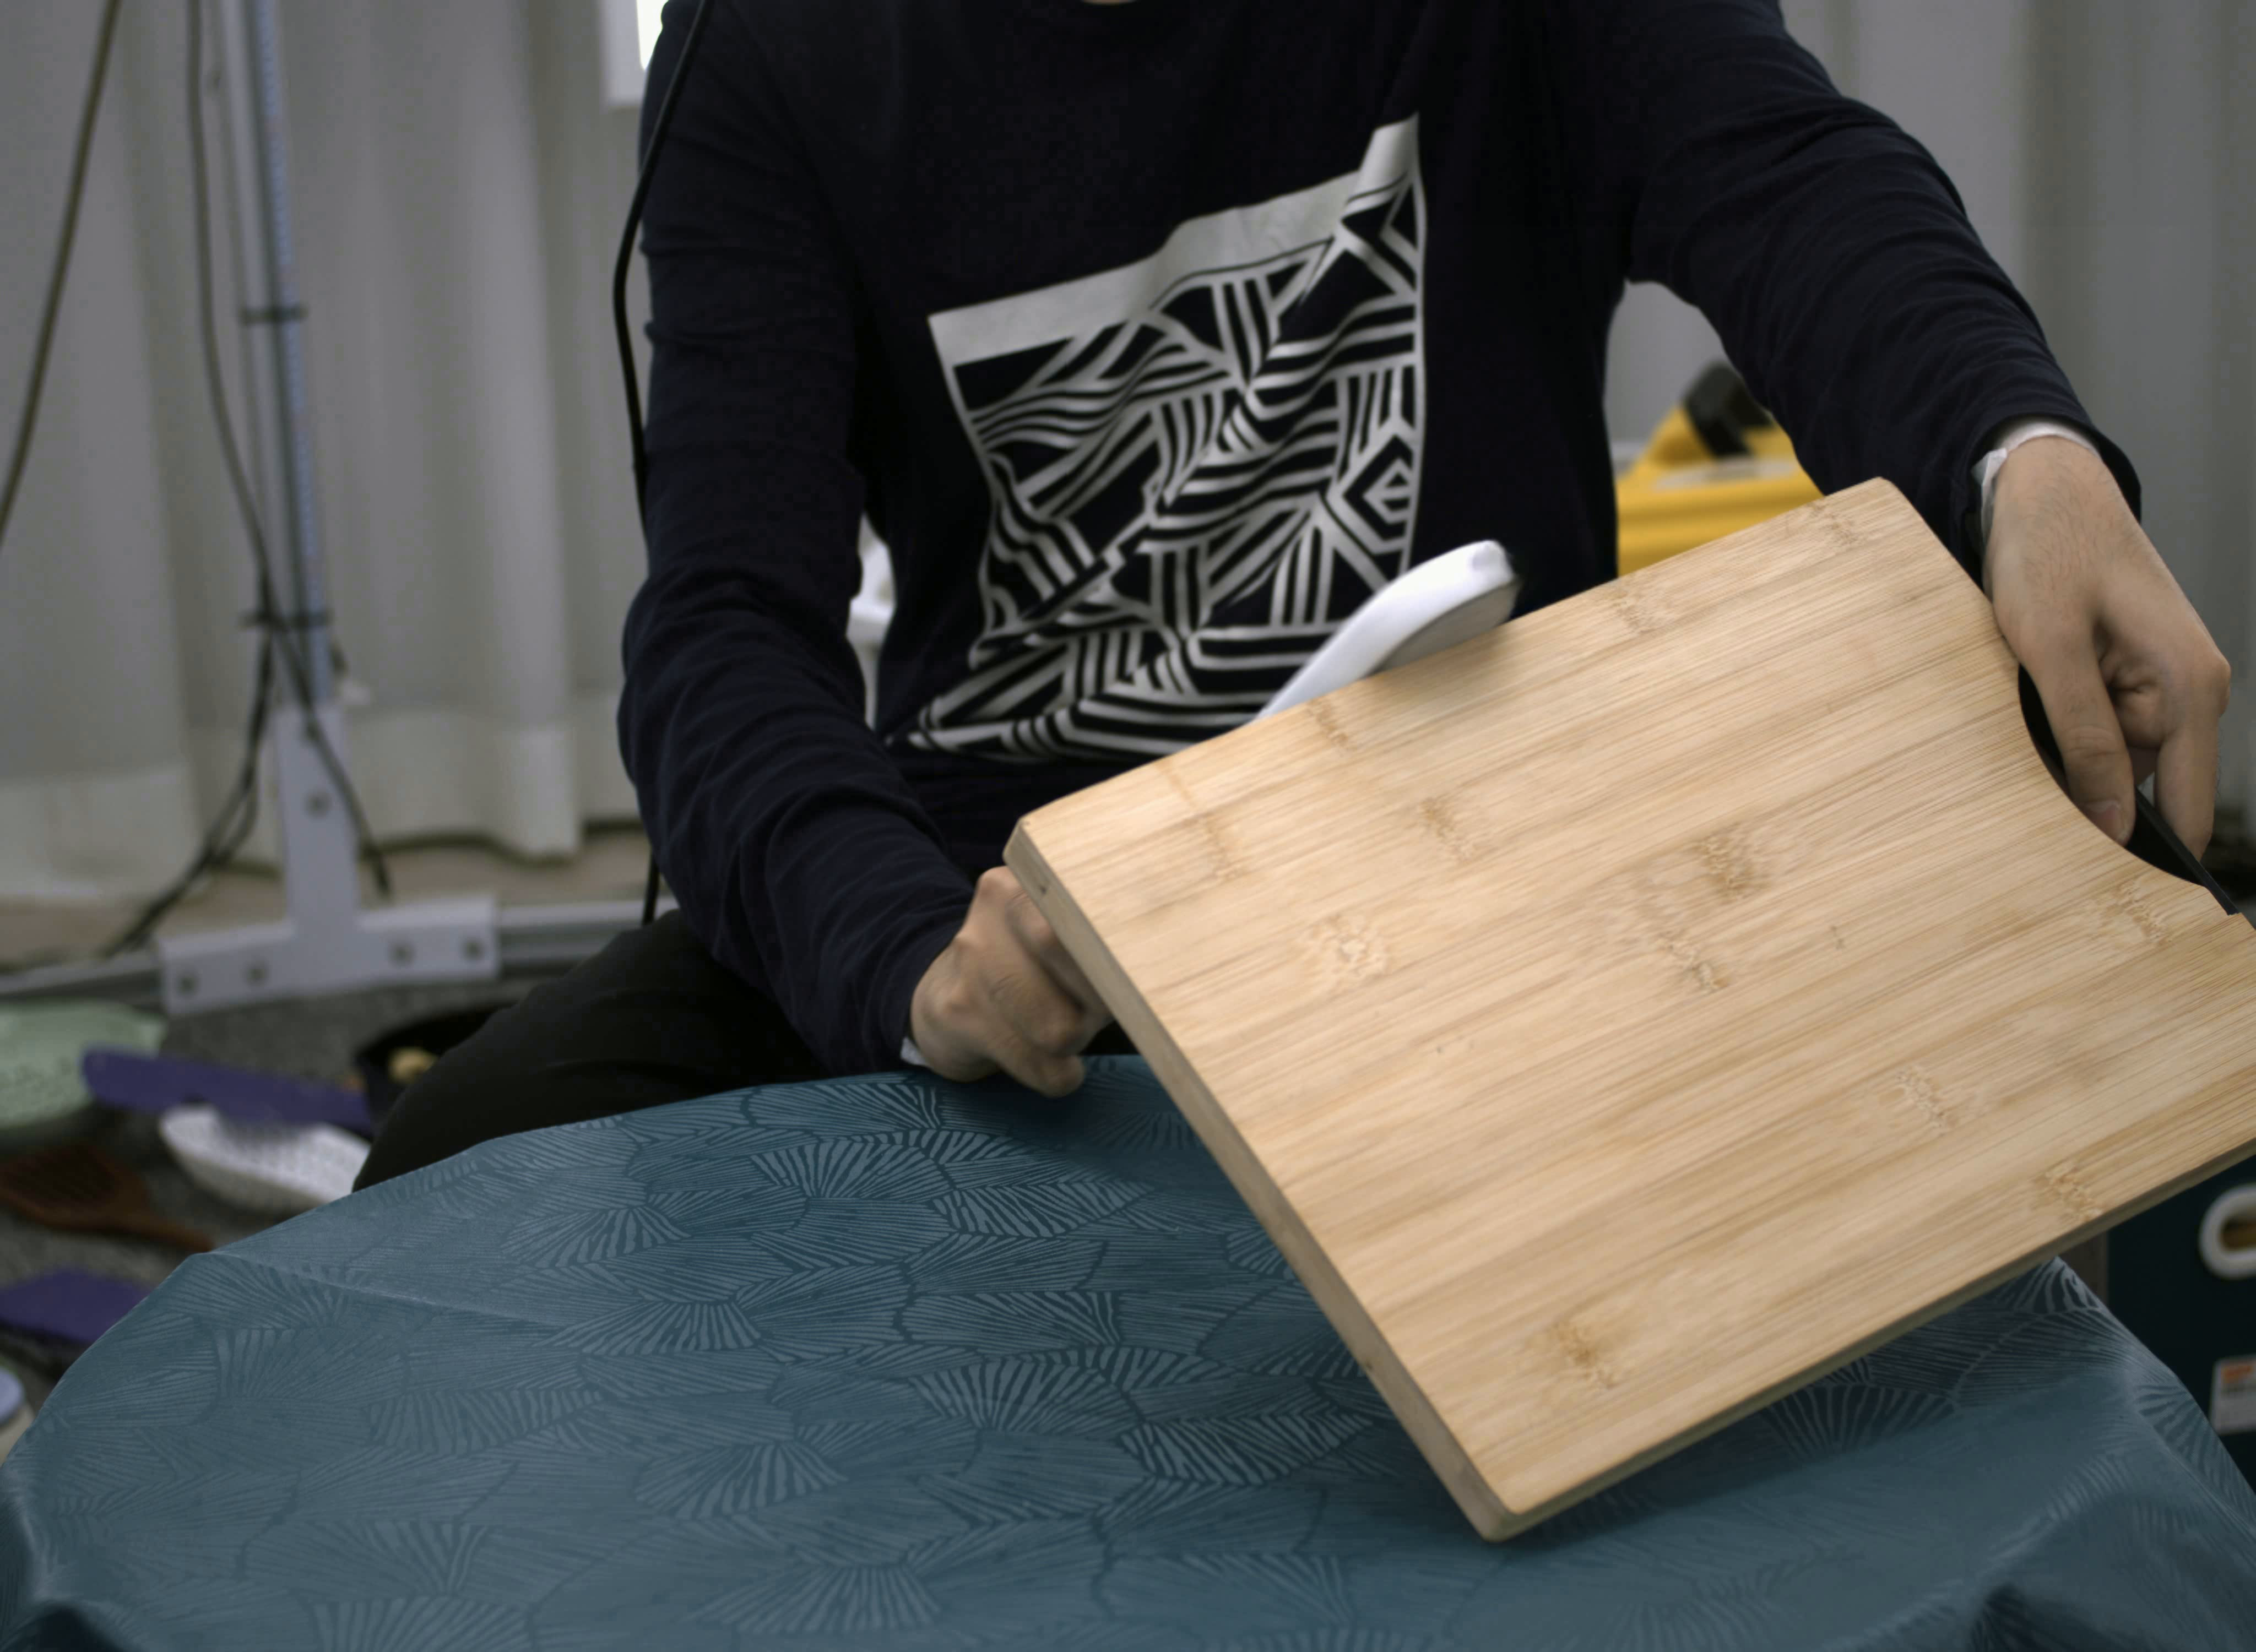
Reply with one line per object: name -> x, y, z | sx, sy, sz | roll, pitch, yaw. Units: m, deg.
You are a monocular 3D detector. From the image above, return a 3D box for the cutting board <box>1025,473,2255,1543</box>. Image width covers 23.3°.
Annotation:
cutting board -> 0.168, 0.039, 1.557 | 0.348, 0.023, 0.253 | -22, 65, -33

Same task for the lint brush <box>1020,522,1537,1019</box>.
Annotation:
lint brush -> 0.039, -0.012, 1.685 | 0.060, 0.021, 0.307 | -27, -12, -37
